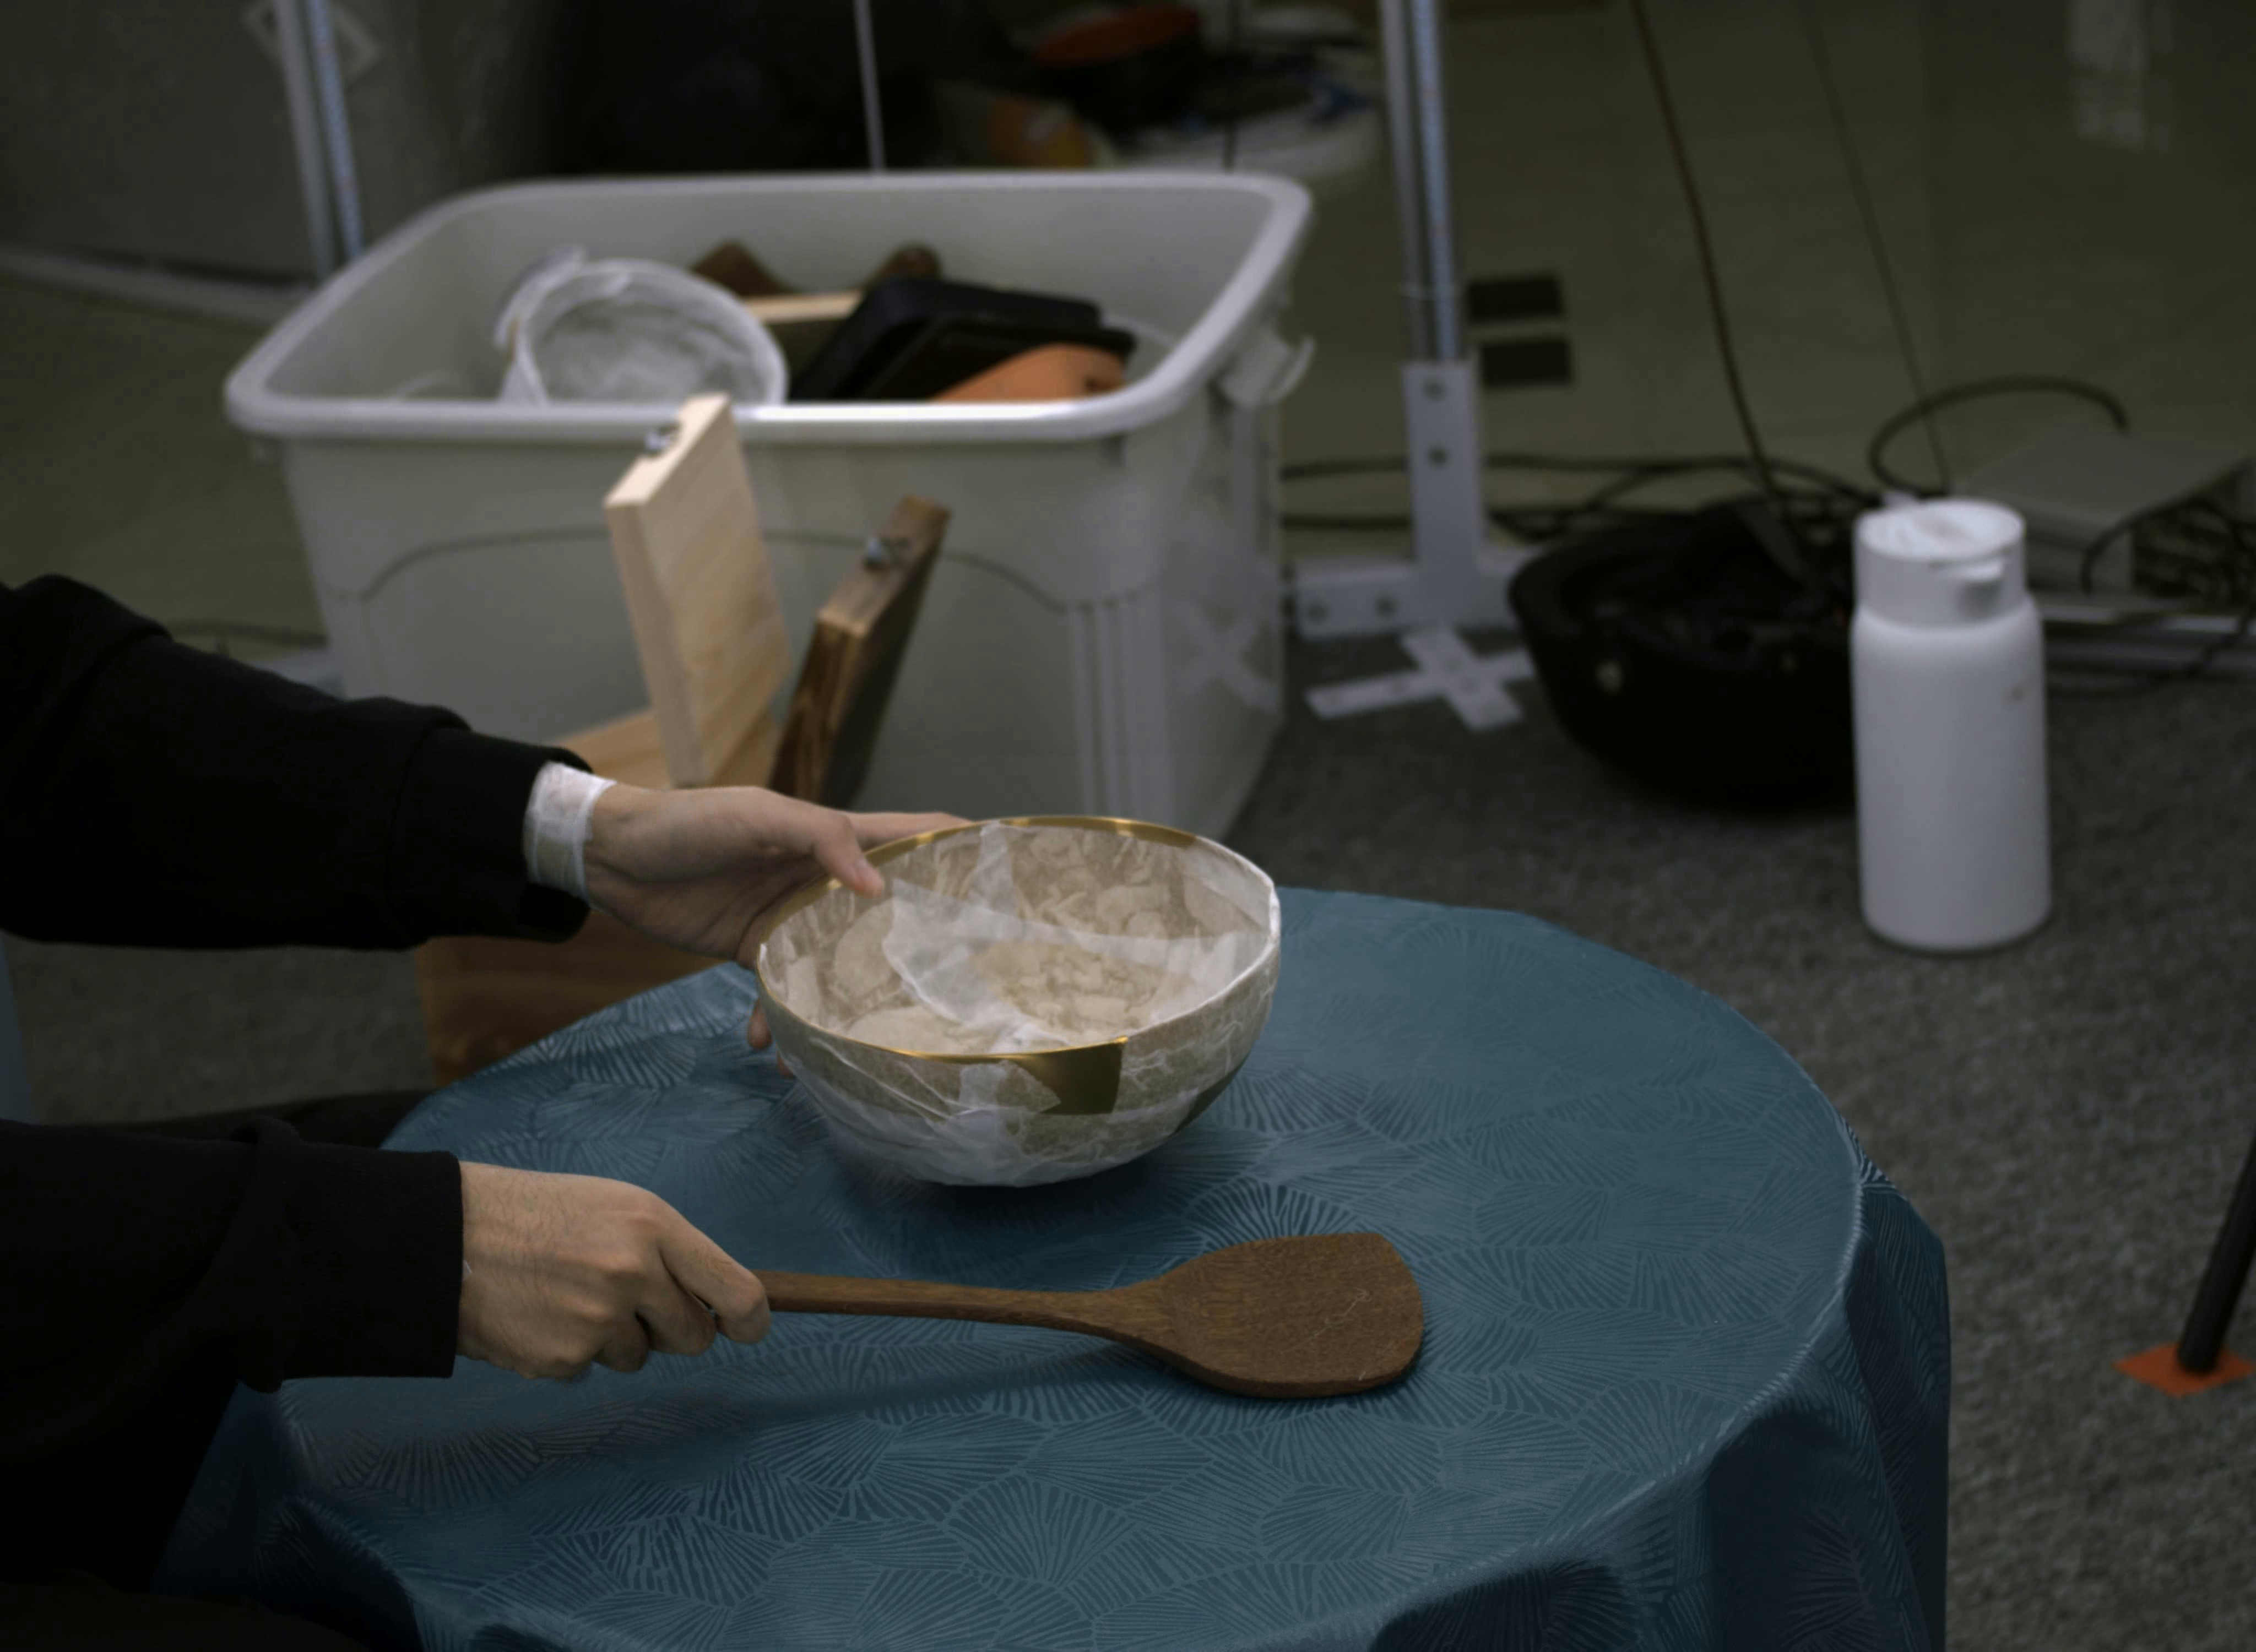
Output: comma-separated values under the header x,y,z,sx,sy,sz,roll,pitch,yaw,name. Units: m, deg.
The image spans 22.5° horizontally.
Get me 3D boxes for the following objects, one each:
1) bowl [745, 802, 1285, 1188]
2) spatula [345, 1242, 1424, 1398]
x,y,z,sx,sy,sz,roll,pitch,yaw,name
-0.040,0.078,2.181,0.214,0.096,0.211,-5,28,3,bowl
-0.086,0.170,2.028,0.385,0.016,0.094,3,29,-4,spatula
